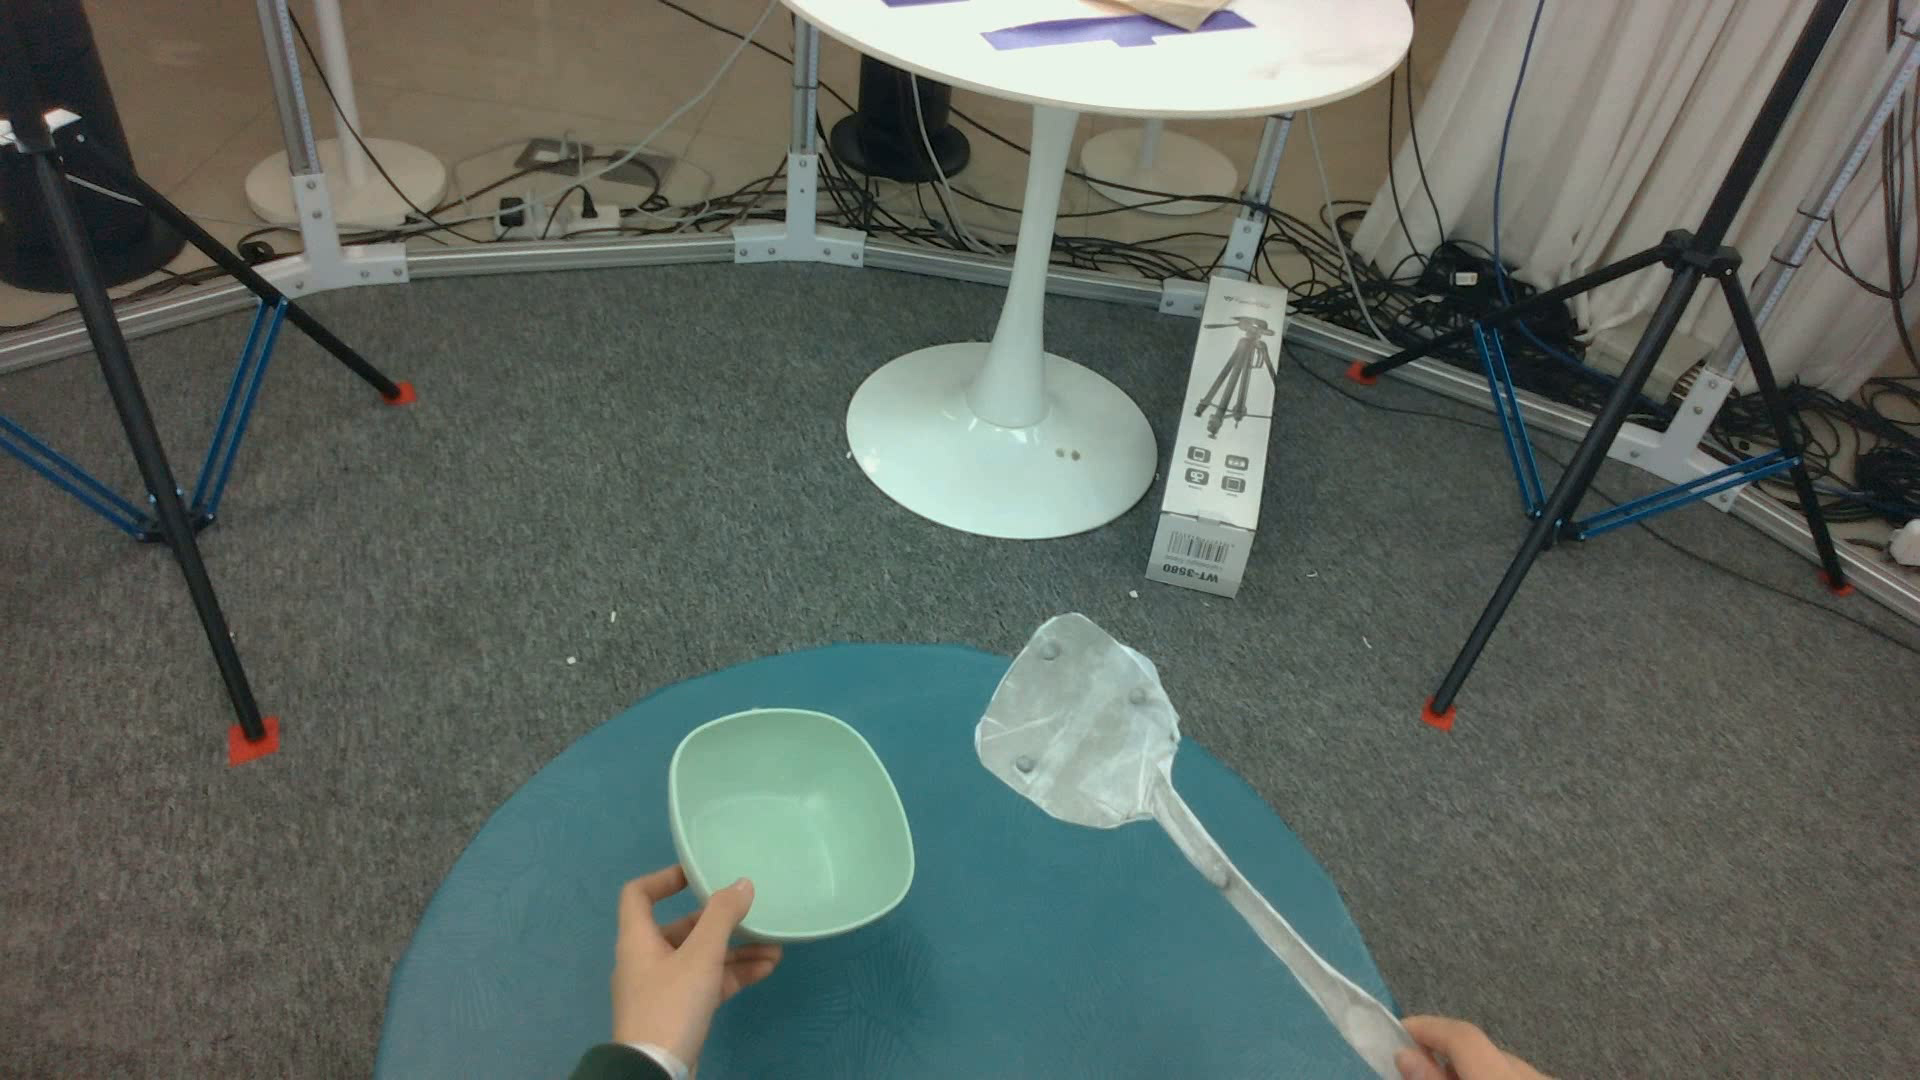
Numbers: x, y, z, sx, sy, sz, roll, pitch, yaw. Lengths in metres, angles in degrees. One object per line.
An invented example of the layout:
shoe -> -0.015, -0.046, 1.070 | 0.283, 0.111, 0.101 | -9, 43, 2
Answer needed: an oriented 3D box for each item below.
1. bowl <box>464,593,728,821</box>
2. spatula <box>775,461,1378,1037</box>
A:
bowl -> -0.210, 0.101, 0.769 | 0.151, 0.058, 0.152 | 23, 39, -20
spatula -> 0.046, 0.092, 0.639 | 0.365, 0.098, 0.045 | 40, 15, 33
